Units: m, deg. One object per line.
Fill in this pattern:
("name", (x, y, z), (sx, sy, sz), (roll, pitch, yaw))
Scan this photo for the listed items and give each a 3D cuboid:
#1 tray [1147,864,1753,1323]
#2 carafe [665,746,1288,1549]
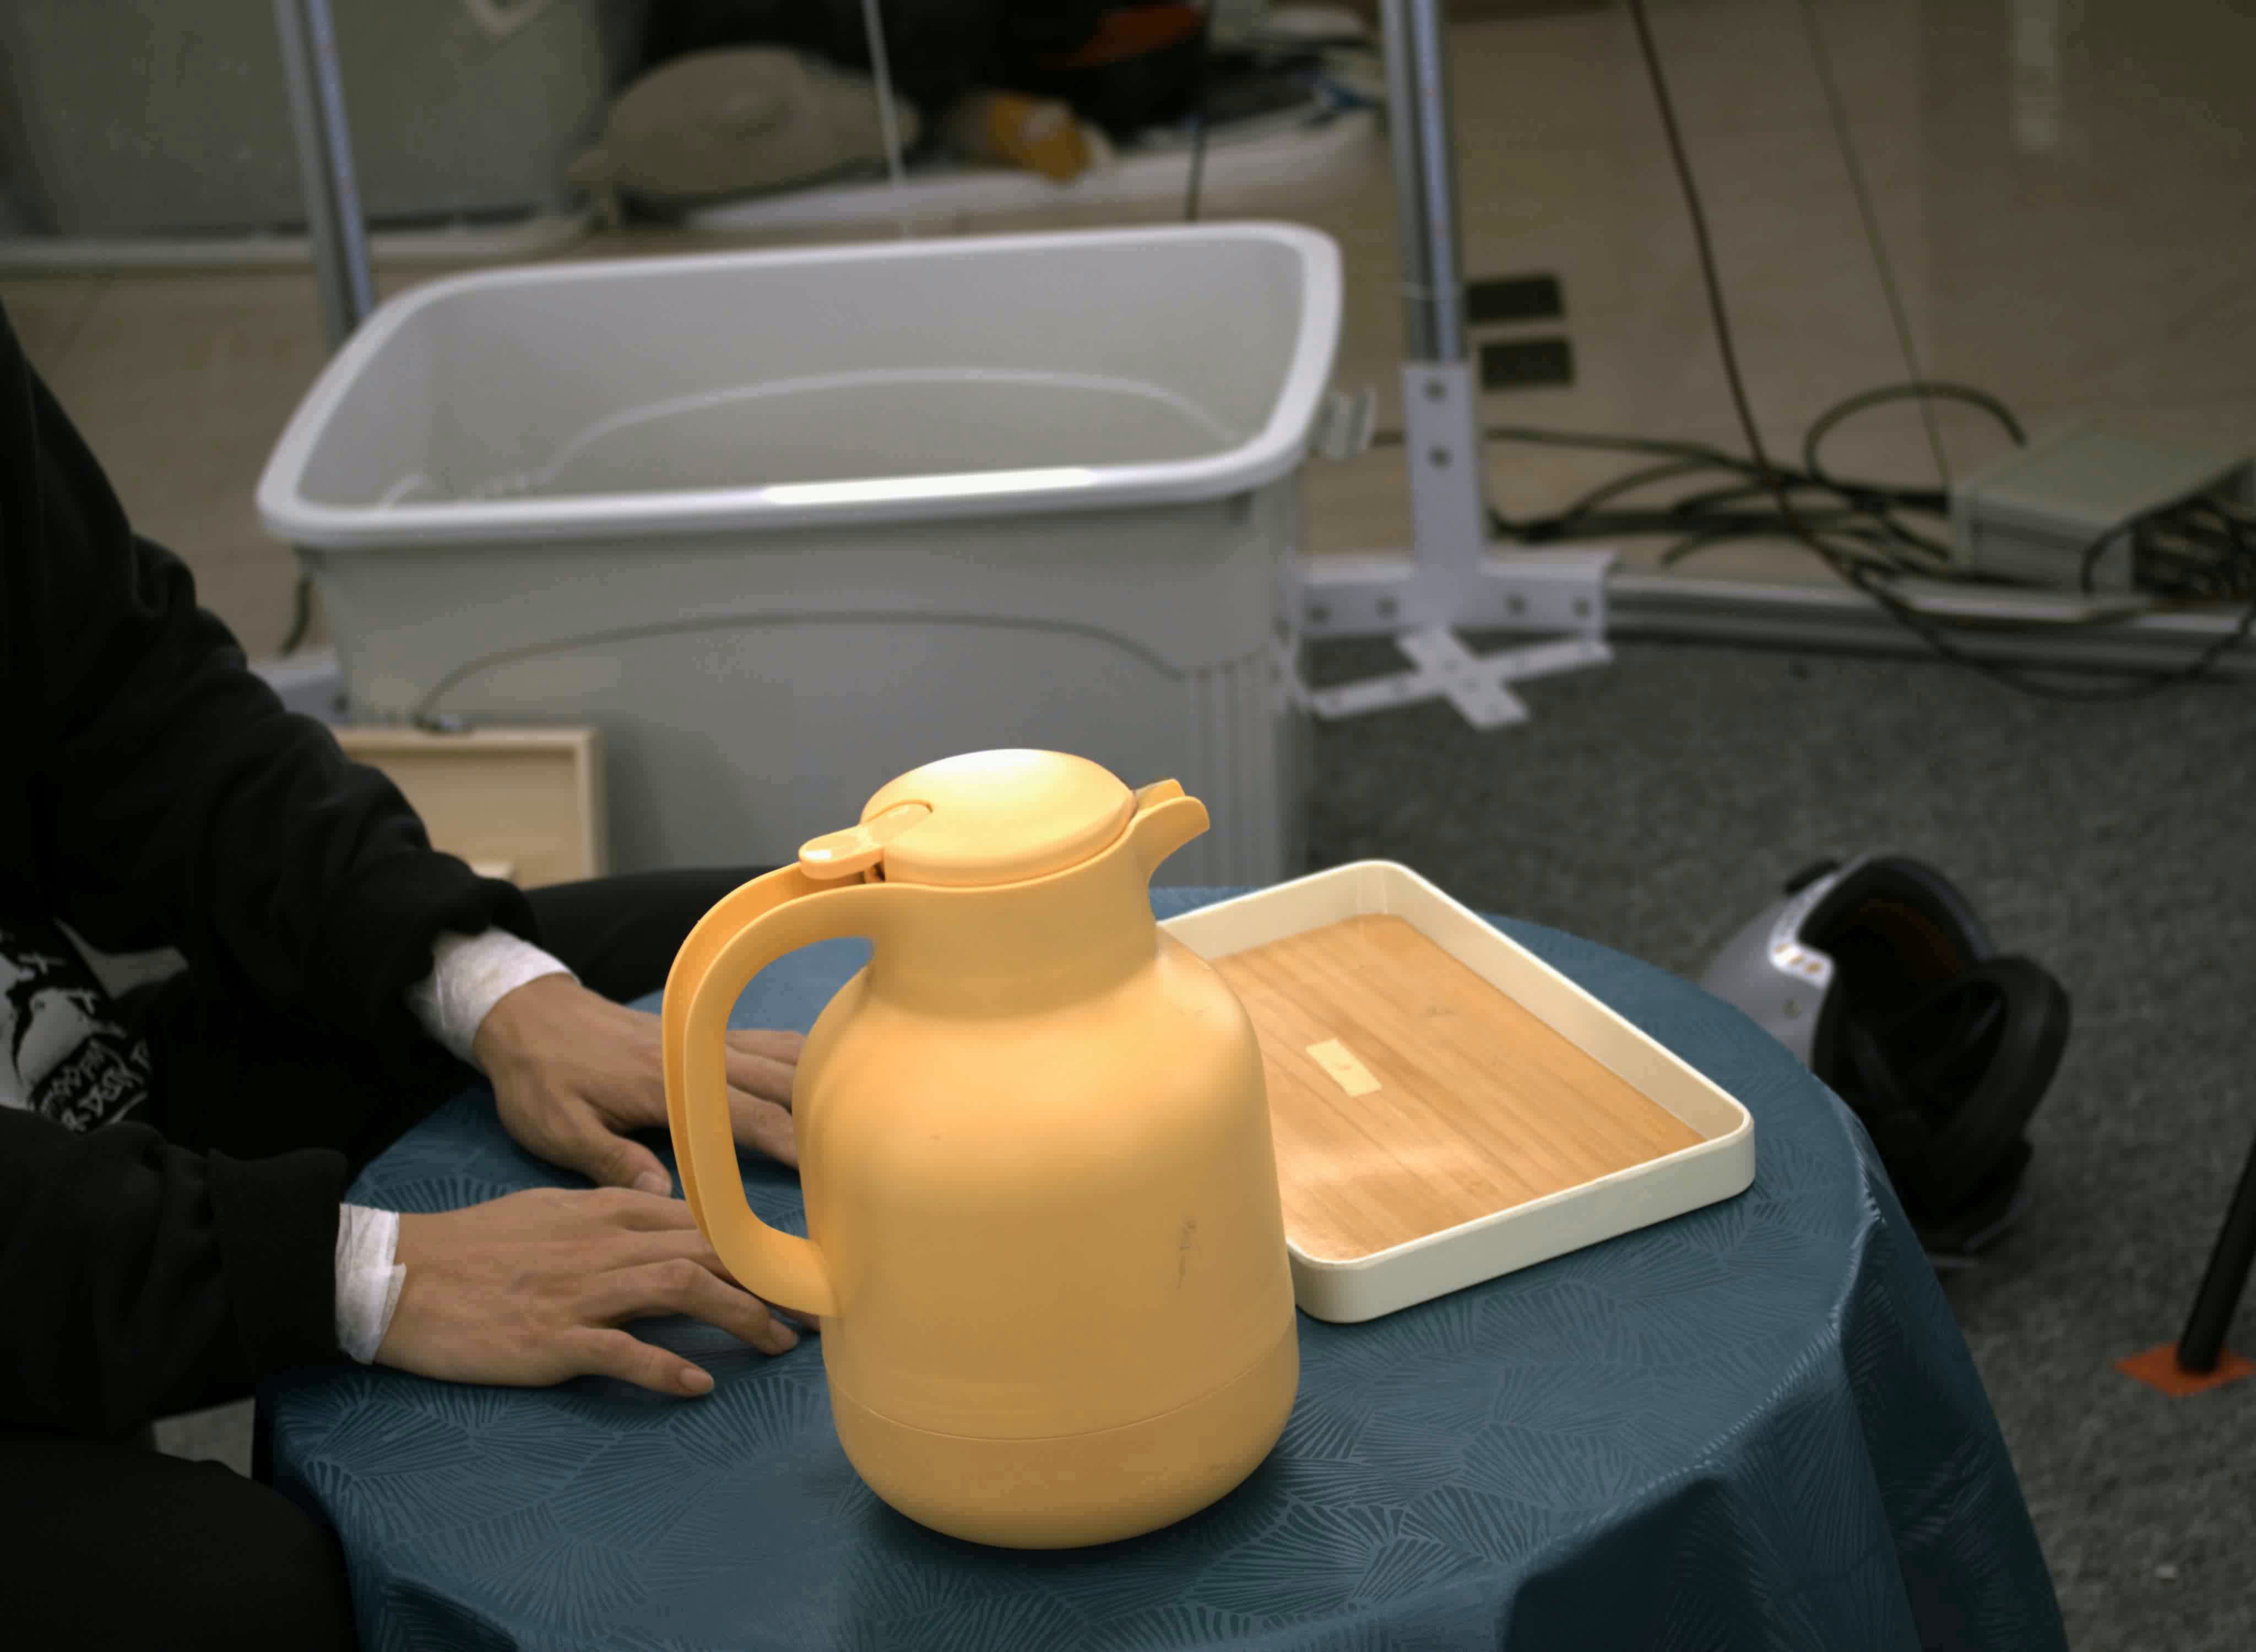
("tray", (0.089, 0.098, 2.185), (0.191, 0.028, 0.297), (-16, 26, -21))
("carafe", (-0.052, 0.107, 1.916), (0.202, 0.264, 0.161), (-12, 24, -15))
